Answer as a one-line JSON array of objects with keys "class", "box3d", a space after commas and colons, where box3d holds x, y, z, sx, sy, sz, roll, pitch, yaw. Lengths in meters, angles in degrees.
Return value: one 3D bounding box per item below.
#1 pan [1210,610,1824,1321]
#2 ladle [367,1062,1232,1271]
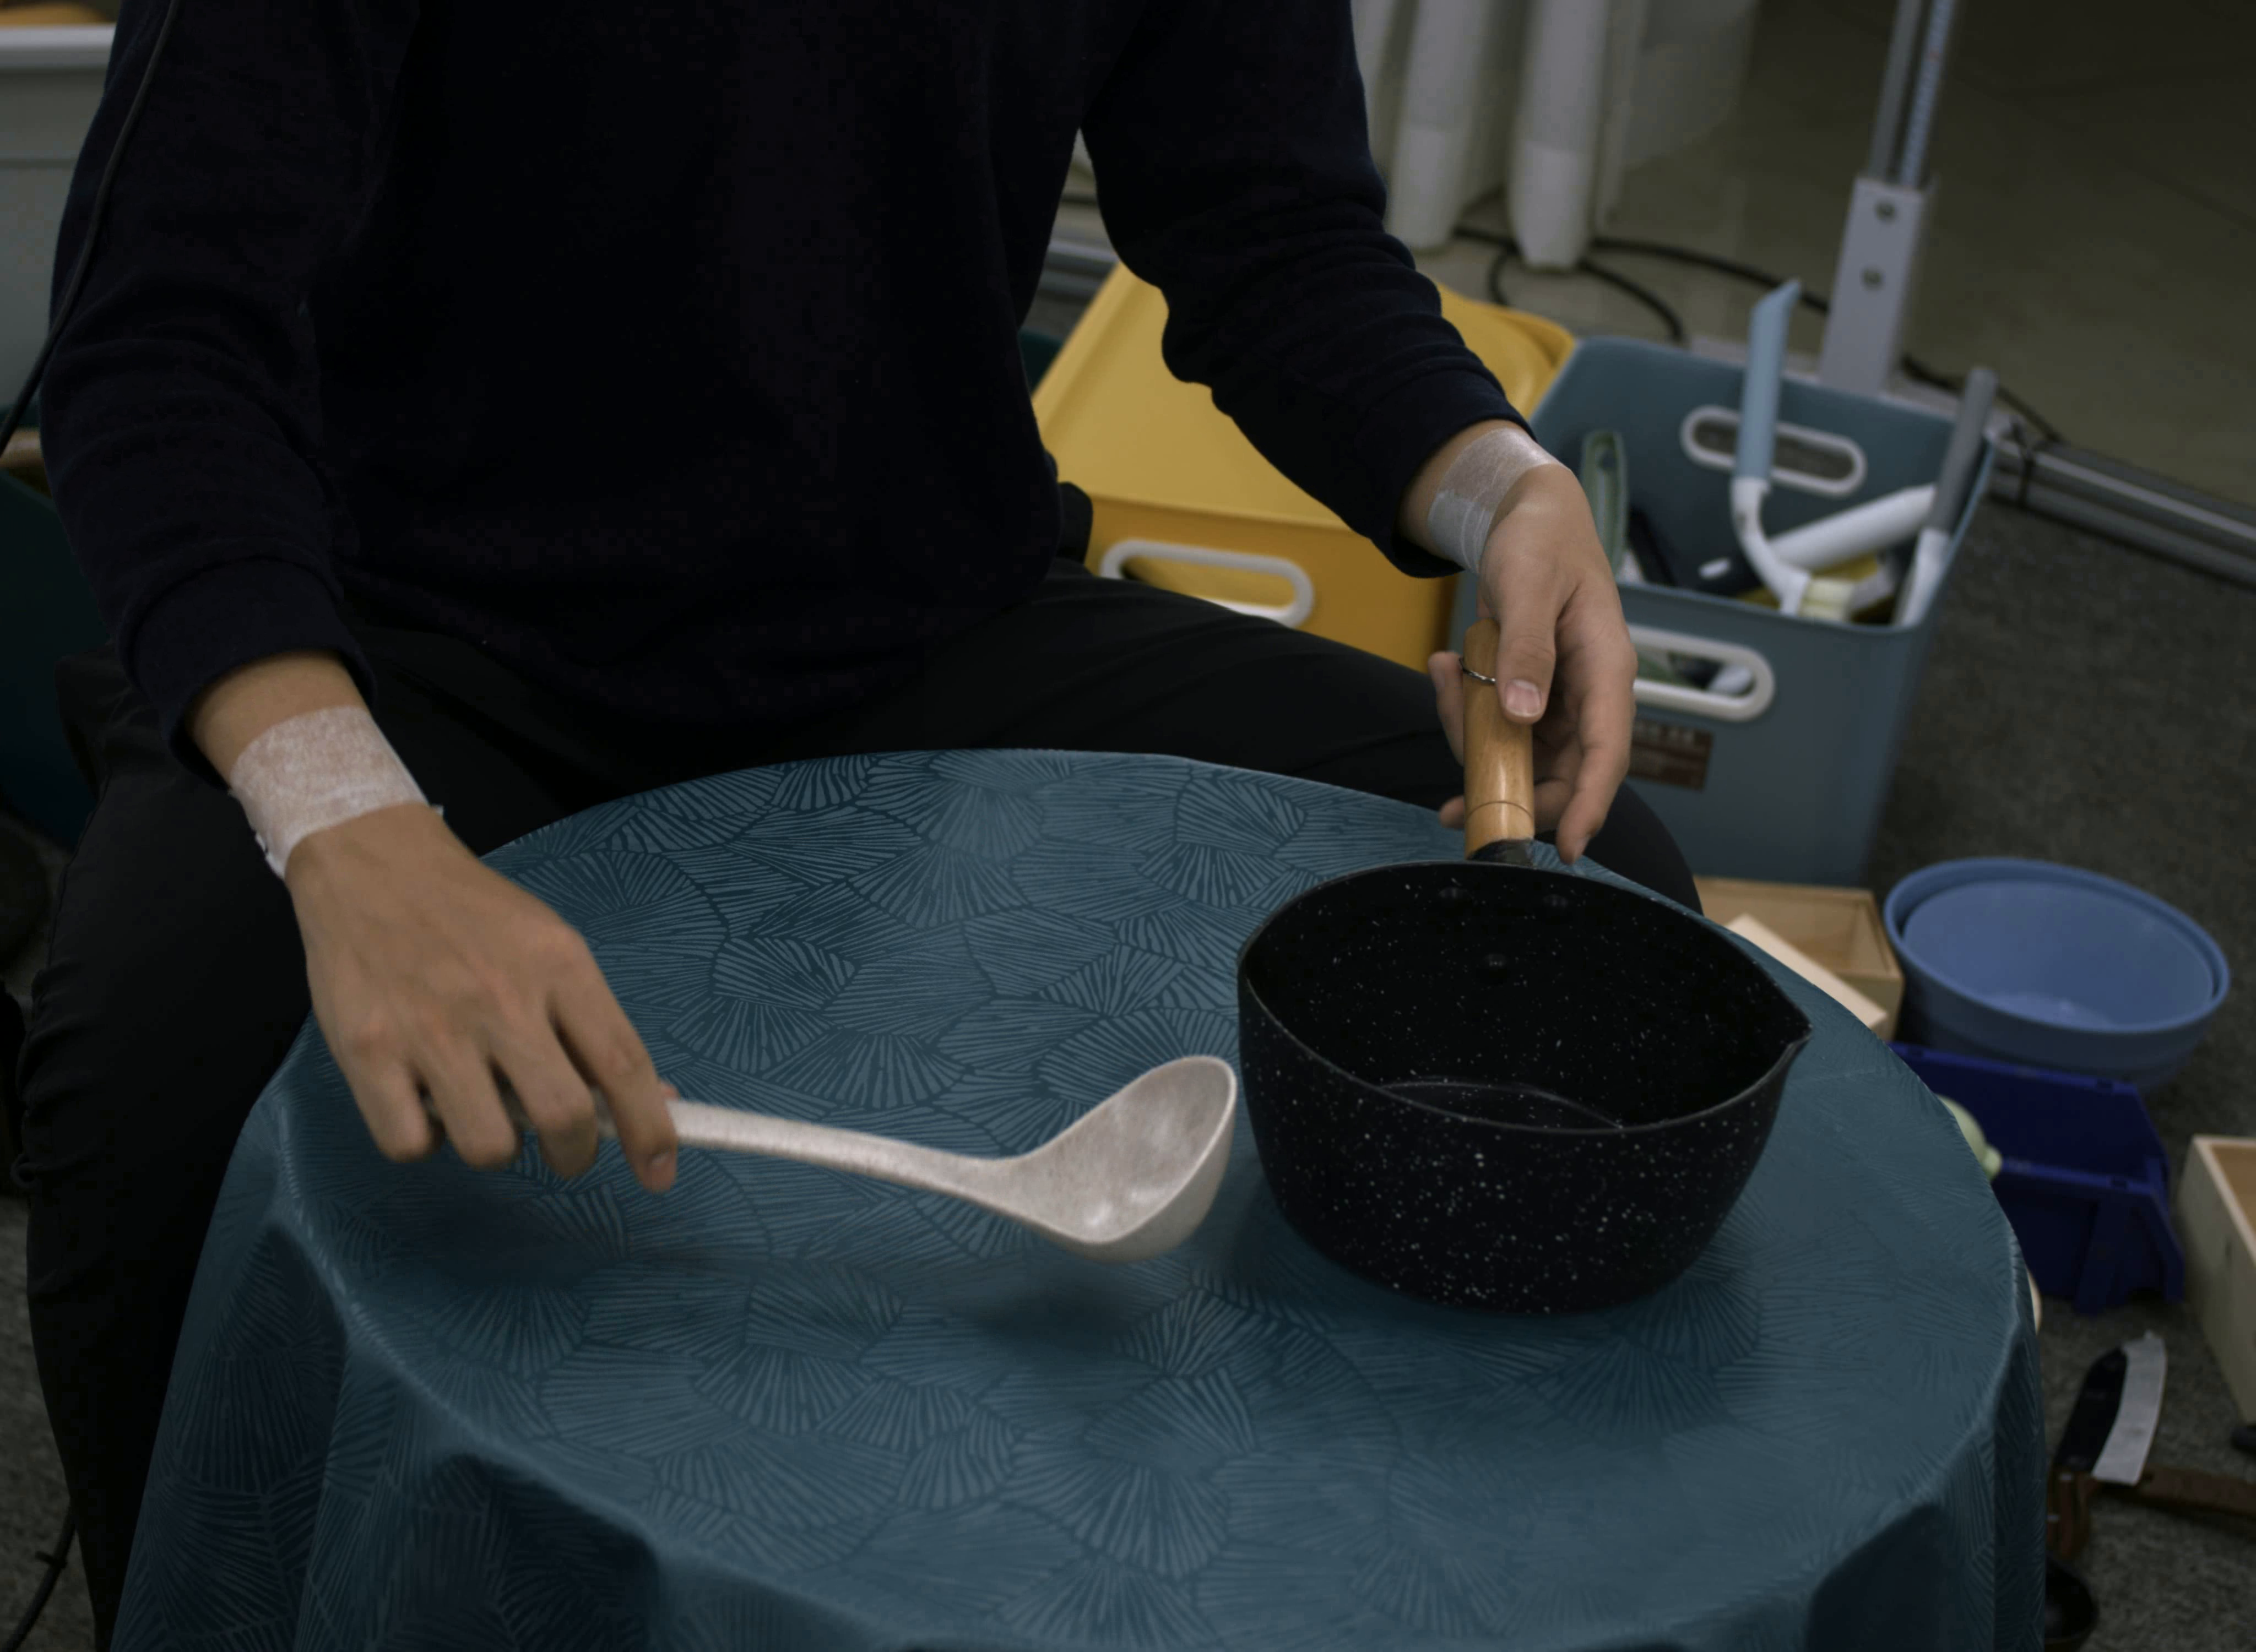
[{"class": "pan", "box3d": [0.128, 0.045, 1.867, 0.207, 0.108, 0.345, 5, 28, -2]}, {"class": "ladle", "box3d": [-0.104, 0.088, 1.708, 0.274, 0.069, 0.090, 11, 27, -6]}]
